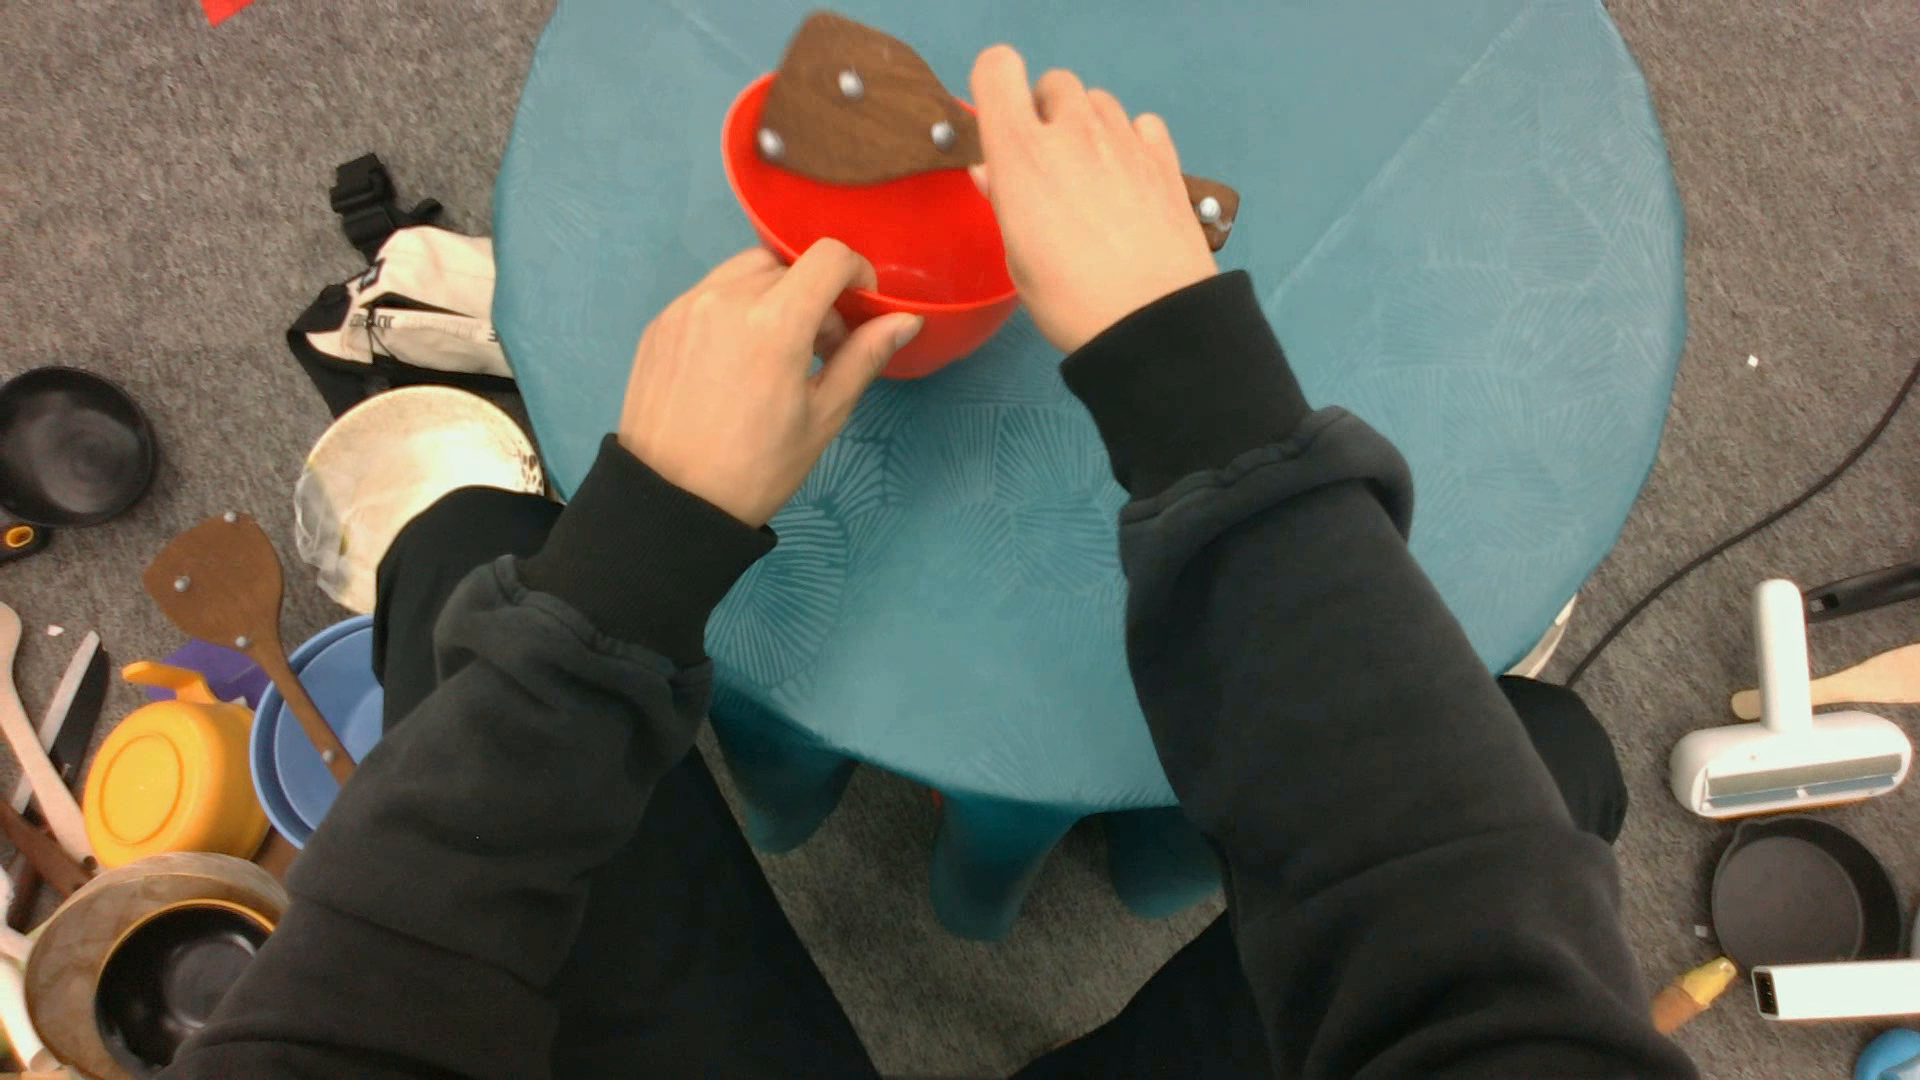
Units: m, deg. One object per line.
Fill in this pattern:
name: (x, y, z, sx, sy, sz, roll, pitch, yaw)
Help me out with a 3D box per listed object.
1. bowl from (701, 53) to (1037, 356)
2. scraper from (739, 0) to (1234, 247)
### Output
bowl: (-0.044, -0.142, 0.626, 0.148, 0.104, 0.148, 6, 57, -8)
scraper: (0.012, -0.170, 0.567, 0.211, 0.011, 0.076, 25, 81, 8)
